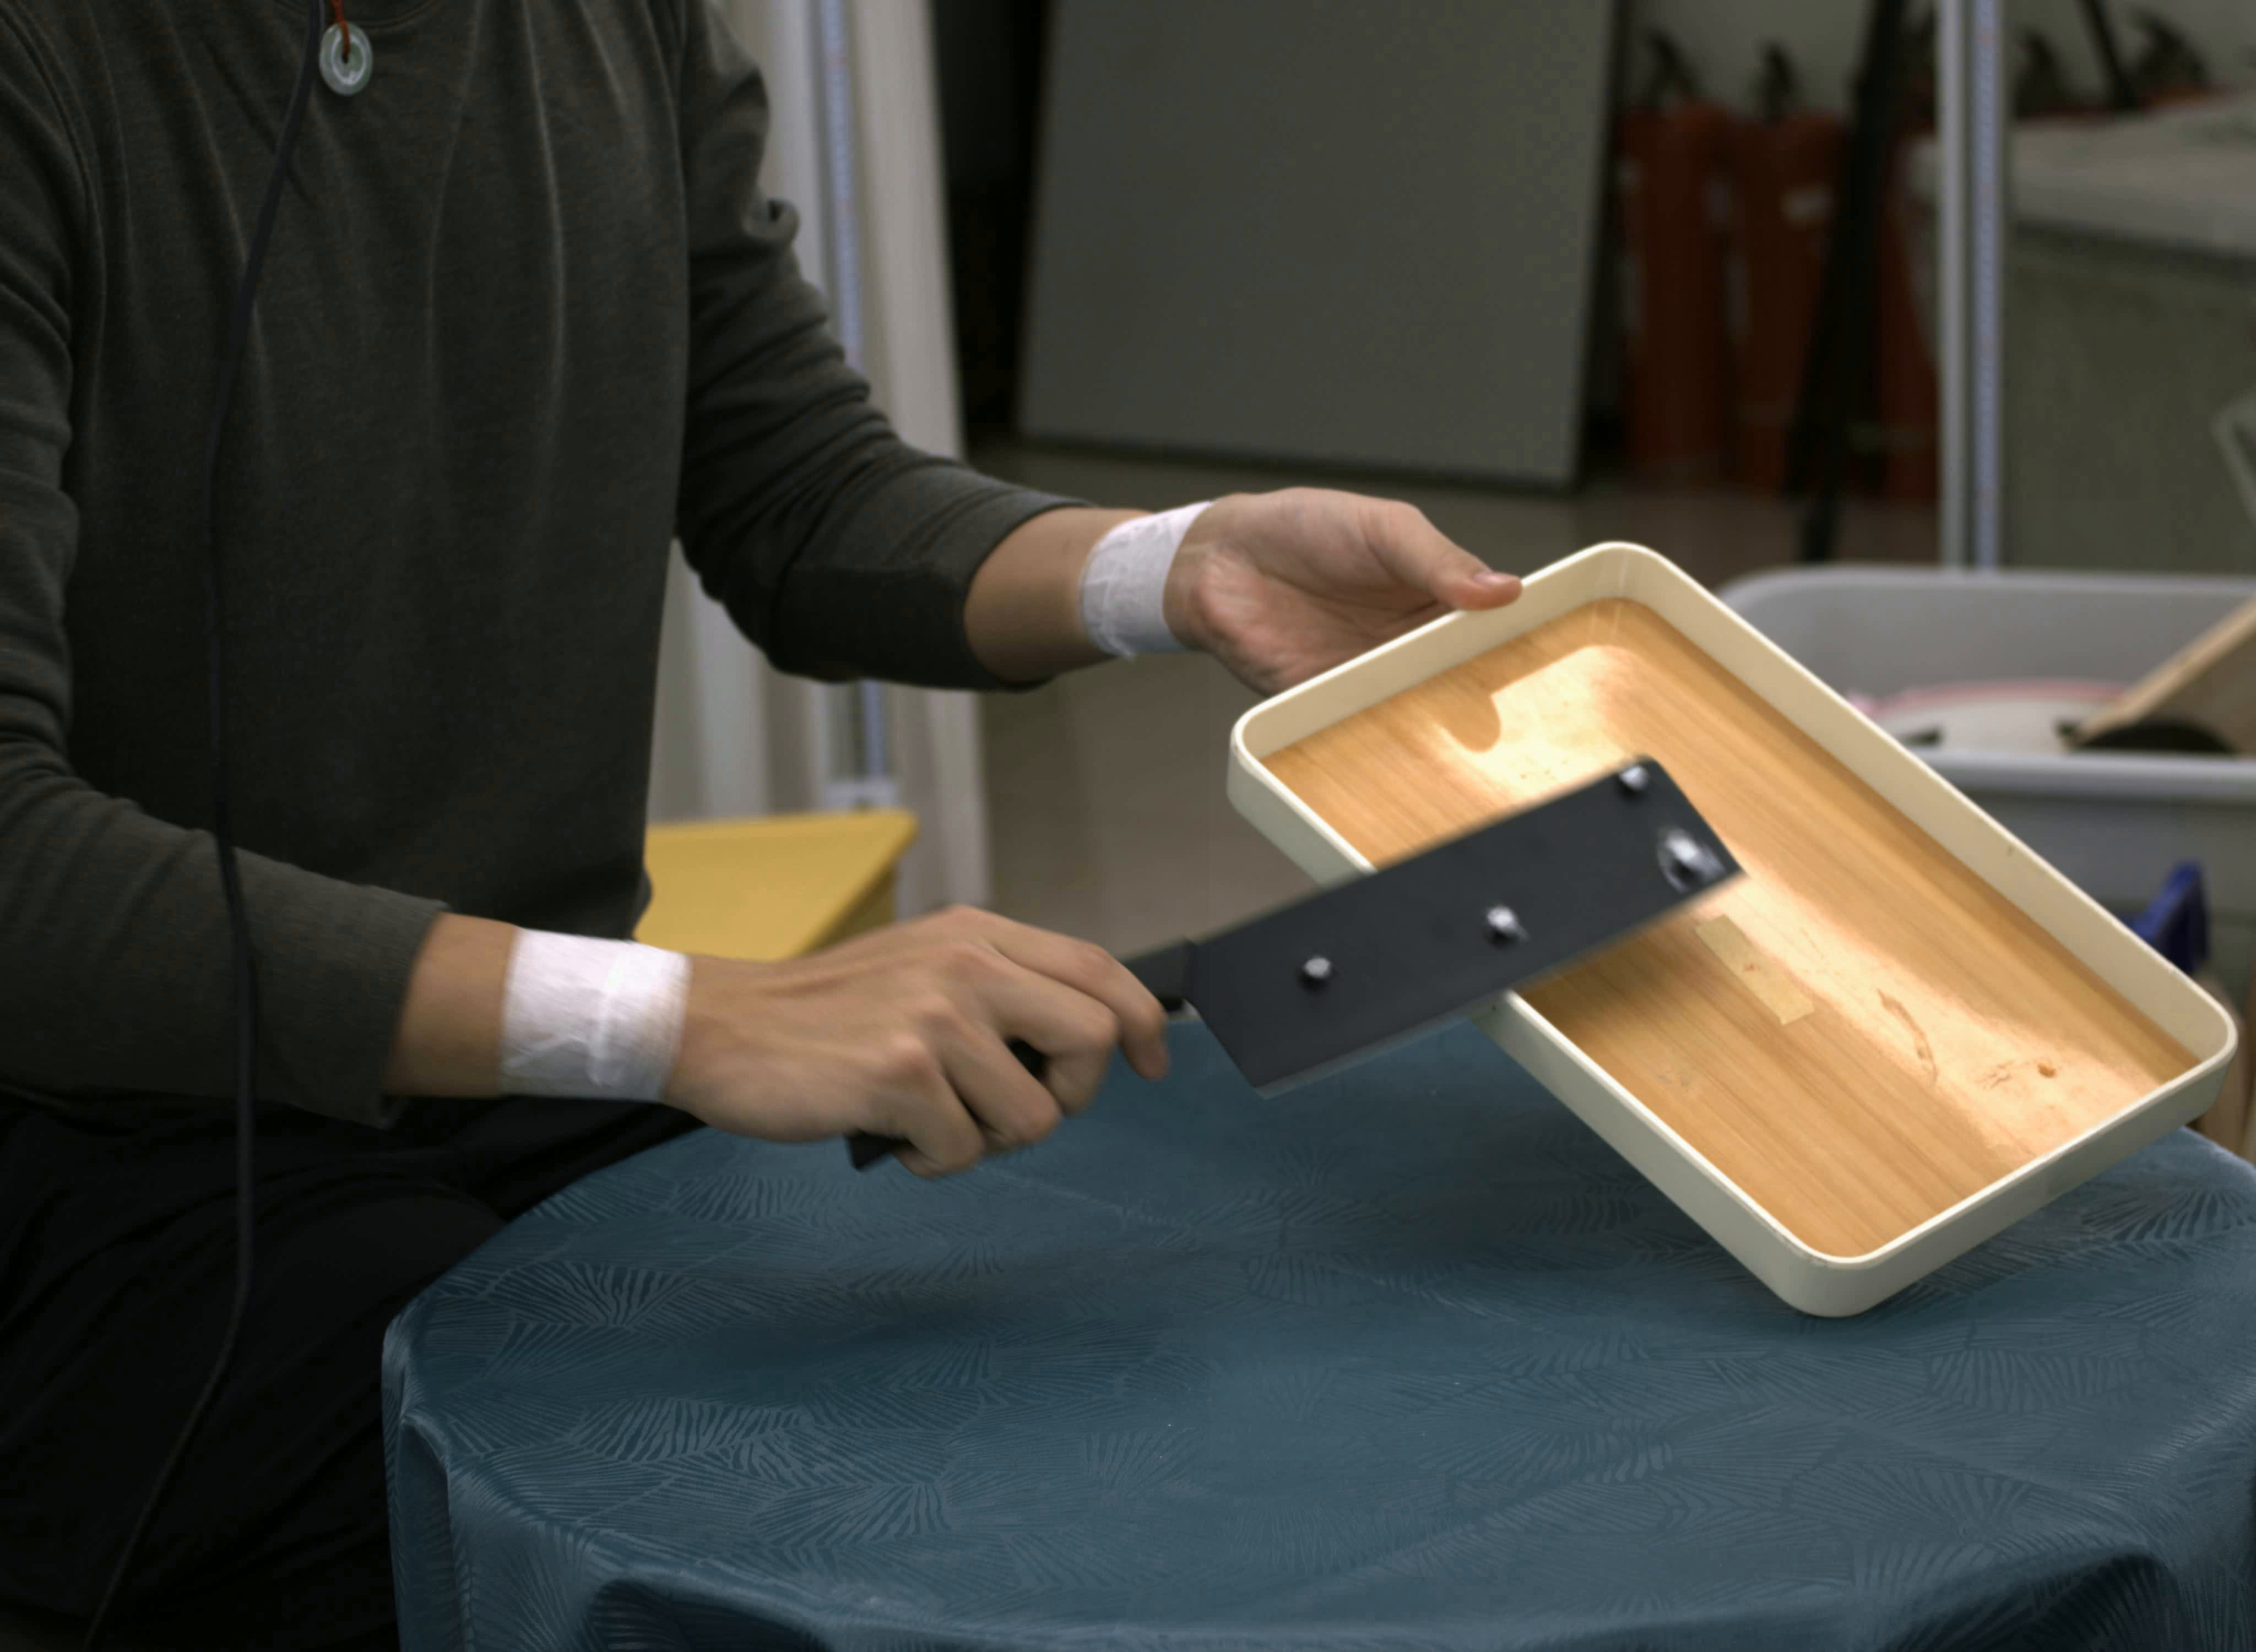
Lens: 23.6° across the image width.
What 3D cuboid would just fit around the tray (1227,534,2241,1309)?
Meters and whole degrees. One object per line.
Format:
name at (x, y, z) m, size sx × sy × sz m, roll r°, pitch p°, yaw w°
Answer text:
tray at (0.189, 0.024, 1.723) m, size 0.188 × 0.027 × 0.303 m, roll -25°, pitch 50°, yaw -29°

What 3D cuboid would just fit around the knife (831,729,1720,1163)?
knife at (0.044, 0.042, 1.681) m, size 0.297 × 0.021 × 0.082 m, roll -20°, pitch 48°, yaw -13°
